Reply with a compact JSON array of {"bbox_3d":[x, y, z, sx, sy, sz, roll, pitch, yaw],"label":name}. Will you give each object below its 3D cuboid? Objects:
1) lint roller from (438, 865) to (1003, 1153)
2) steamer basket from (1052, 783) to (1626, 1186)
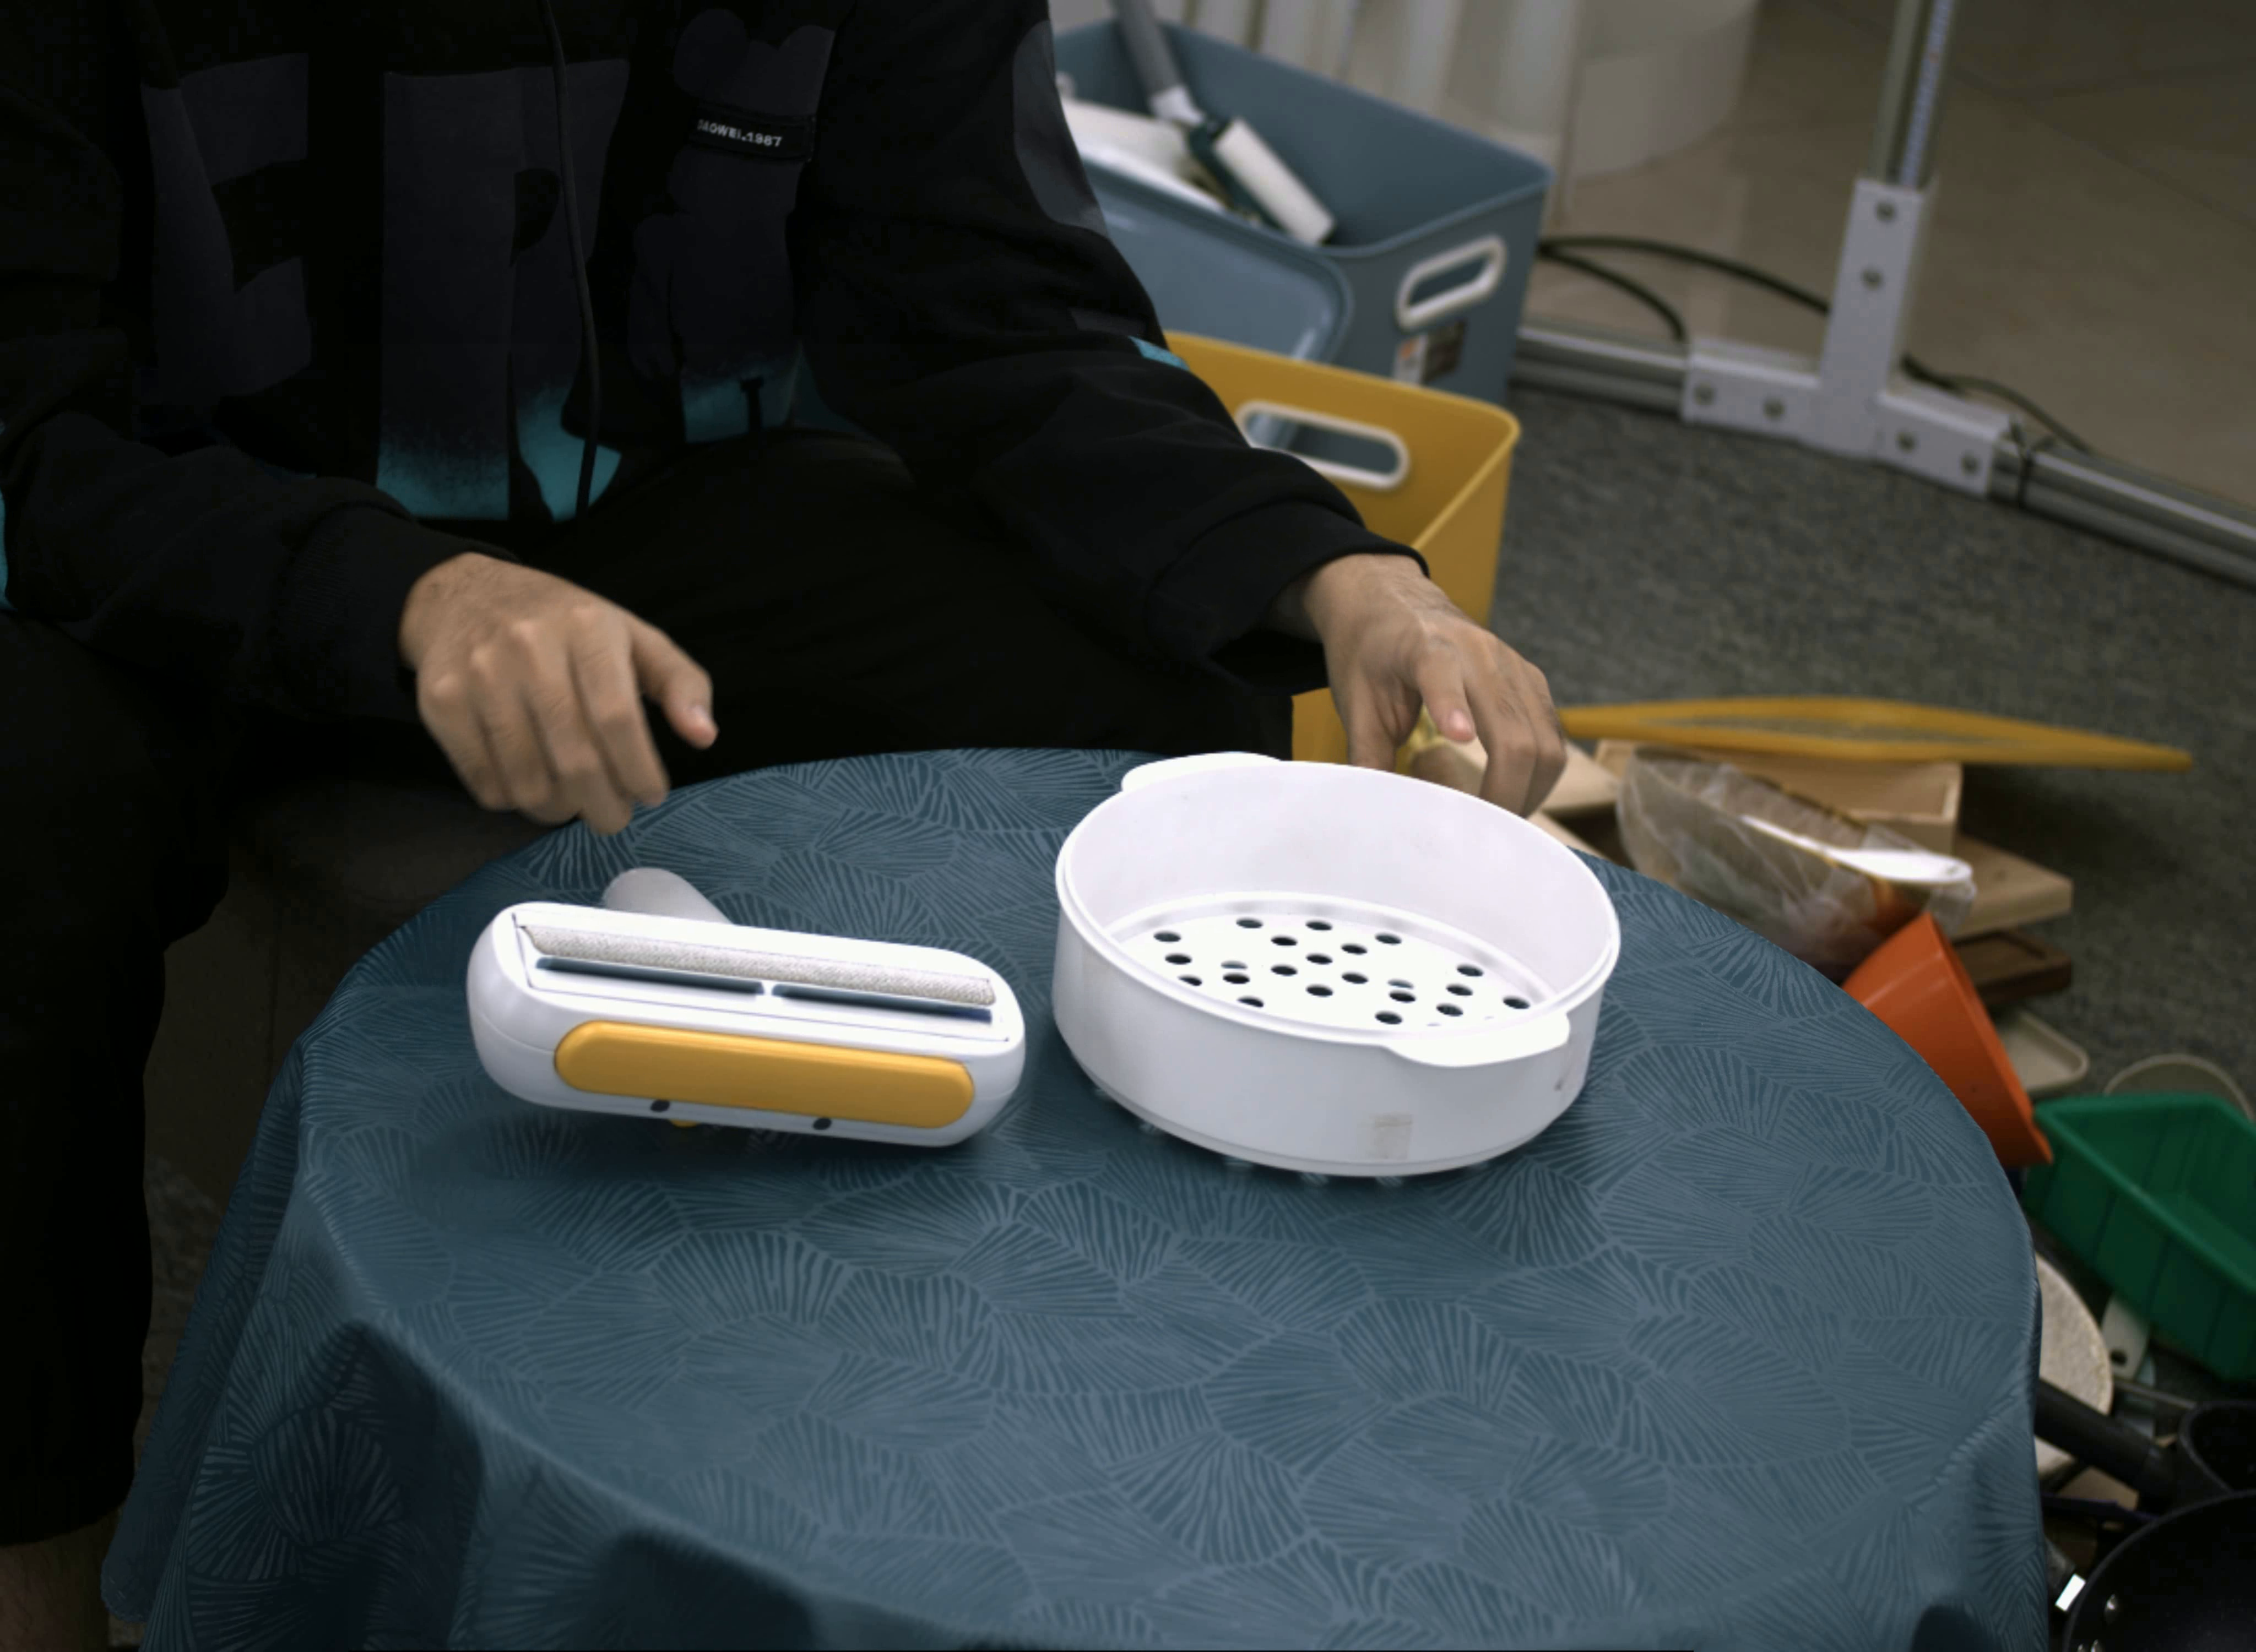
[{"bbox_3d":[-0.150,0.047,1.841,0.191,0.074,0.194,5,25,-15],"label":"lint roller"},{"bbox_3d":[0.072,0.057,1.879,0.200,0.069,0.232,-7,27,-28],"label":"steamer basket"}]
